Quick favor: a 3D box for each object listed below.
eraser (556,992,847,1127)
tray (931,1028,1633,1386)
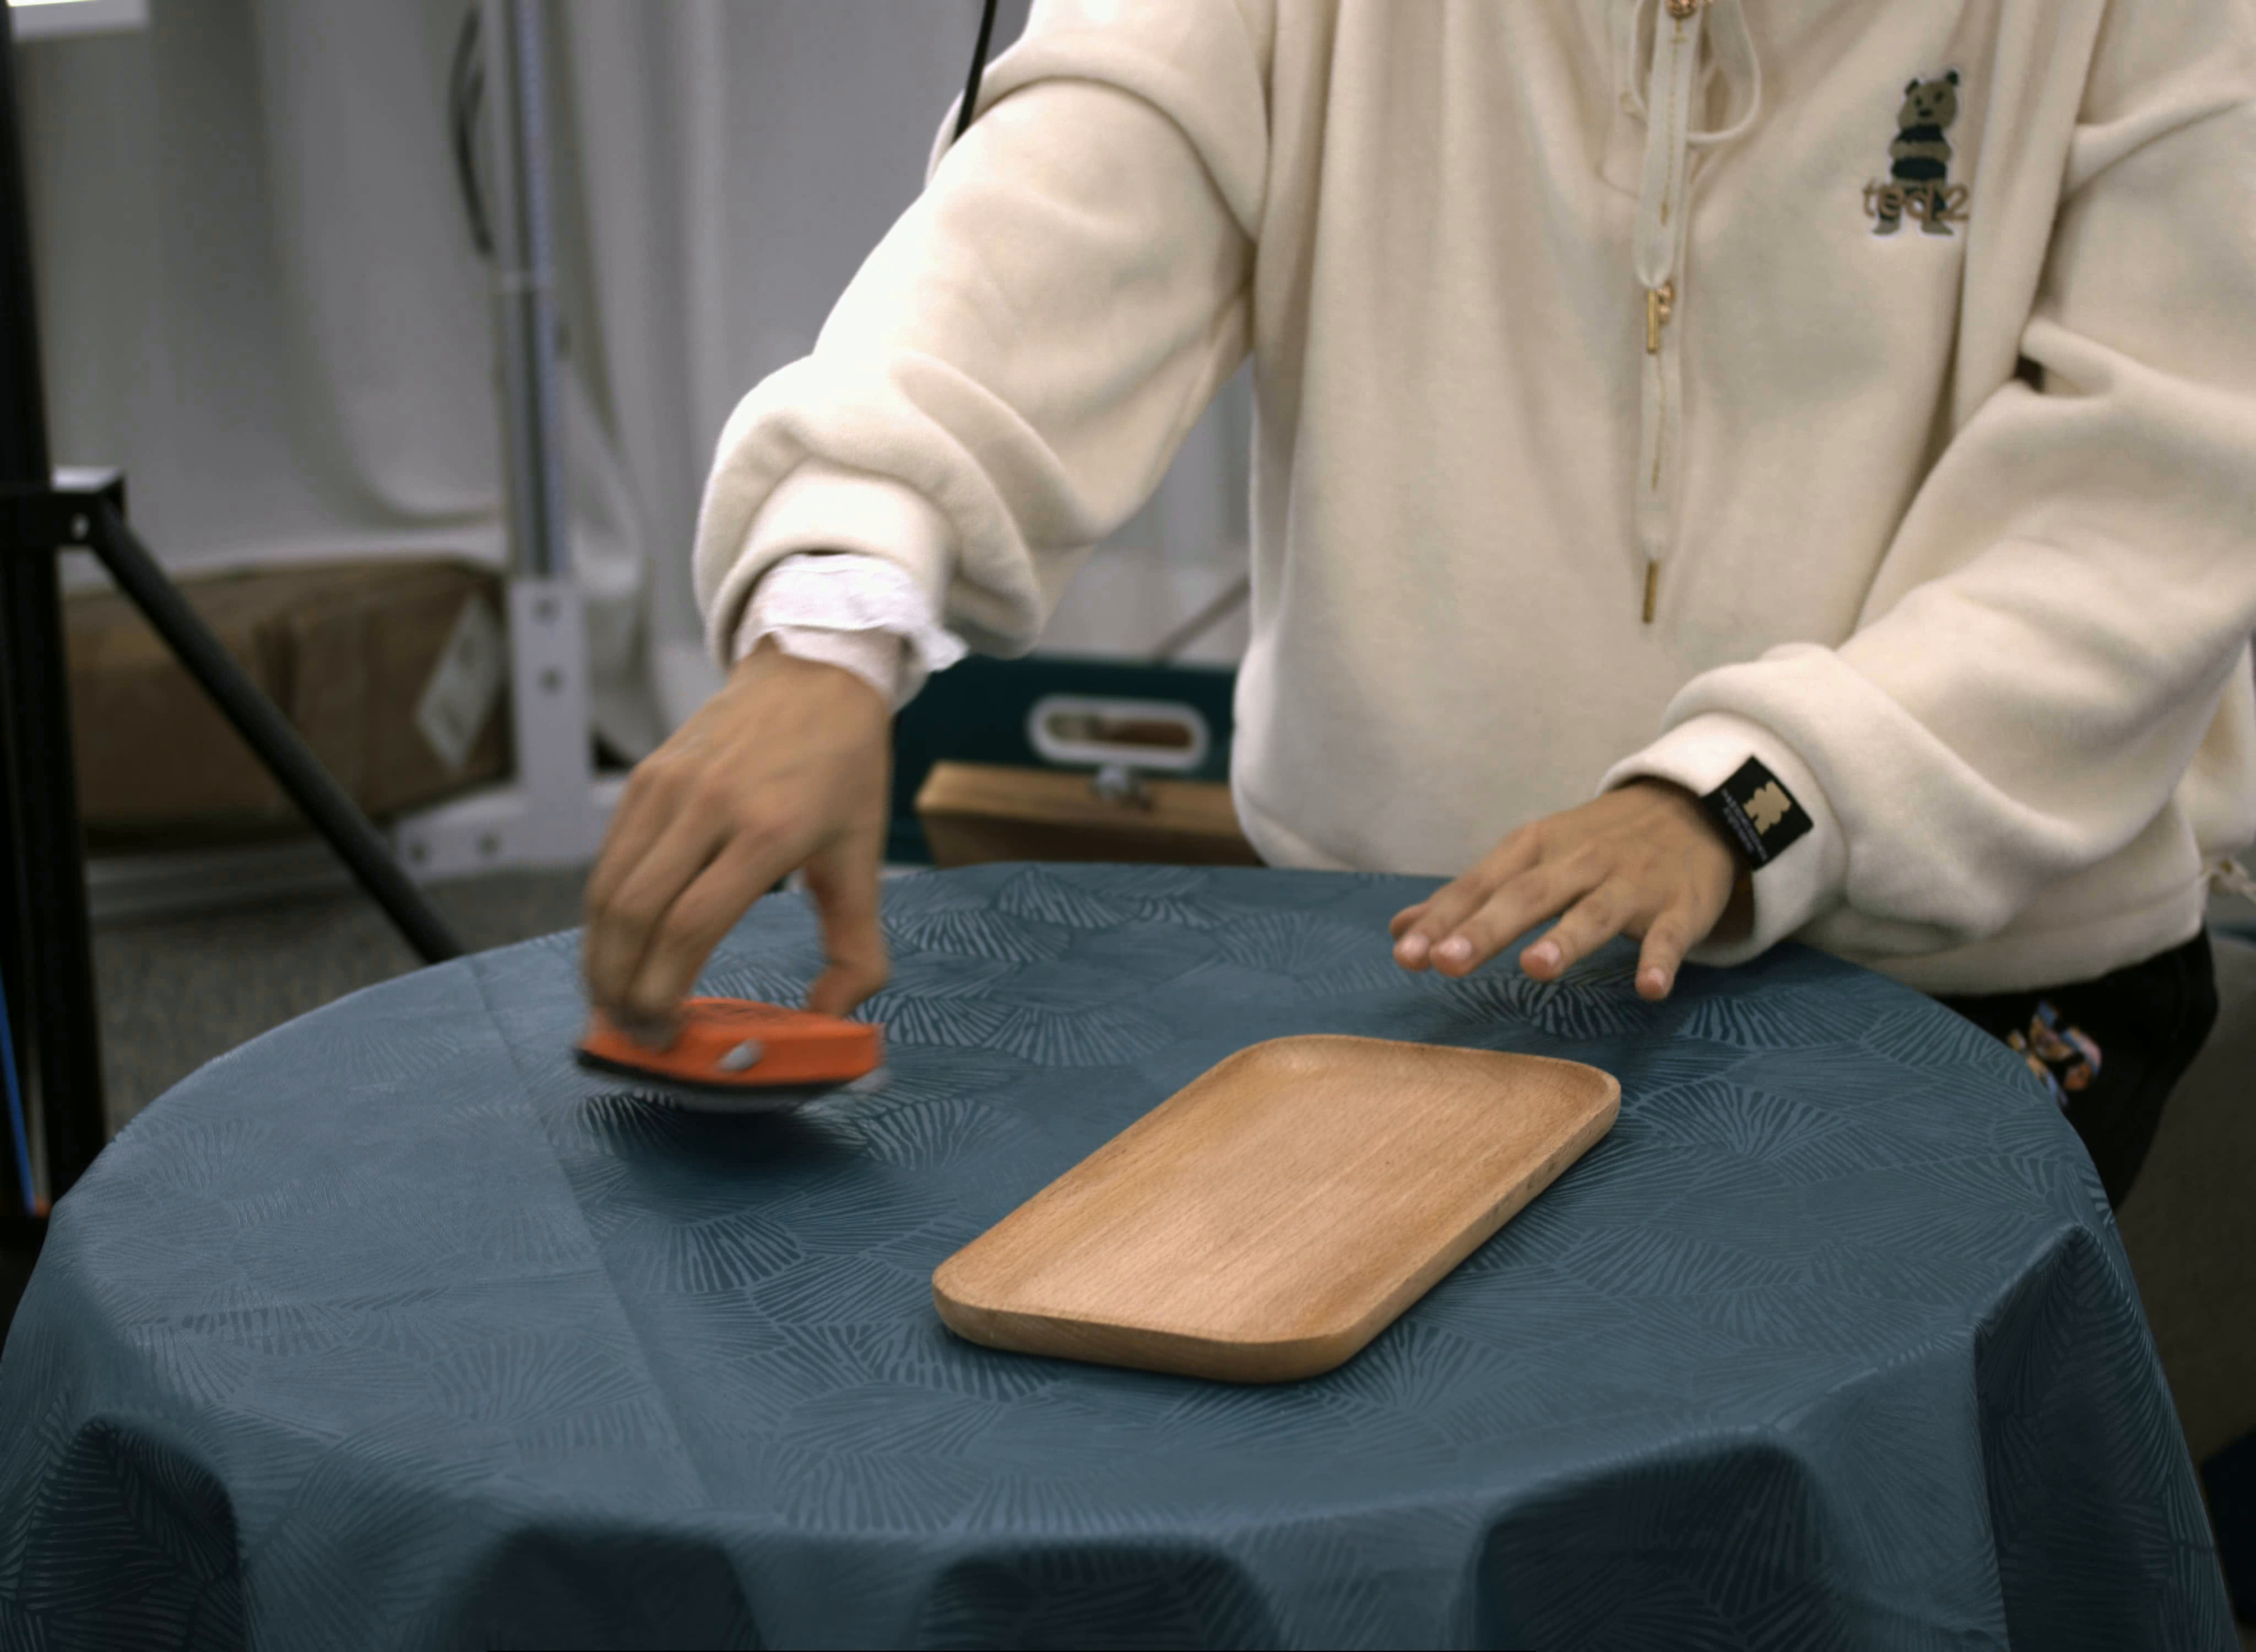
[{"bbox_3d":[-0.131,0.071,1.635,0.057,0.023,0.110,-3,9,-27],"label":"eraser"},{"bbox_3d":[0.049,0.106,1.521,0.133,0.023,0.246,8,19,26],"label":"tray"}]
